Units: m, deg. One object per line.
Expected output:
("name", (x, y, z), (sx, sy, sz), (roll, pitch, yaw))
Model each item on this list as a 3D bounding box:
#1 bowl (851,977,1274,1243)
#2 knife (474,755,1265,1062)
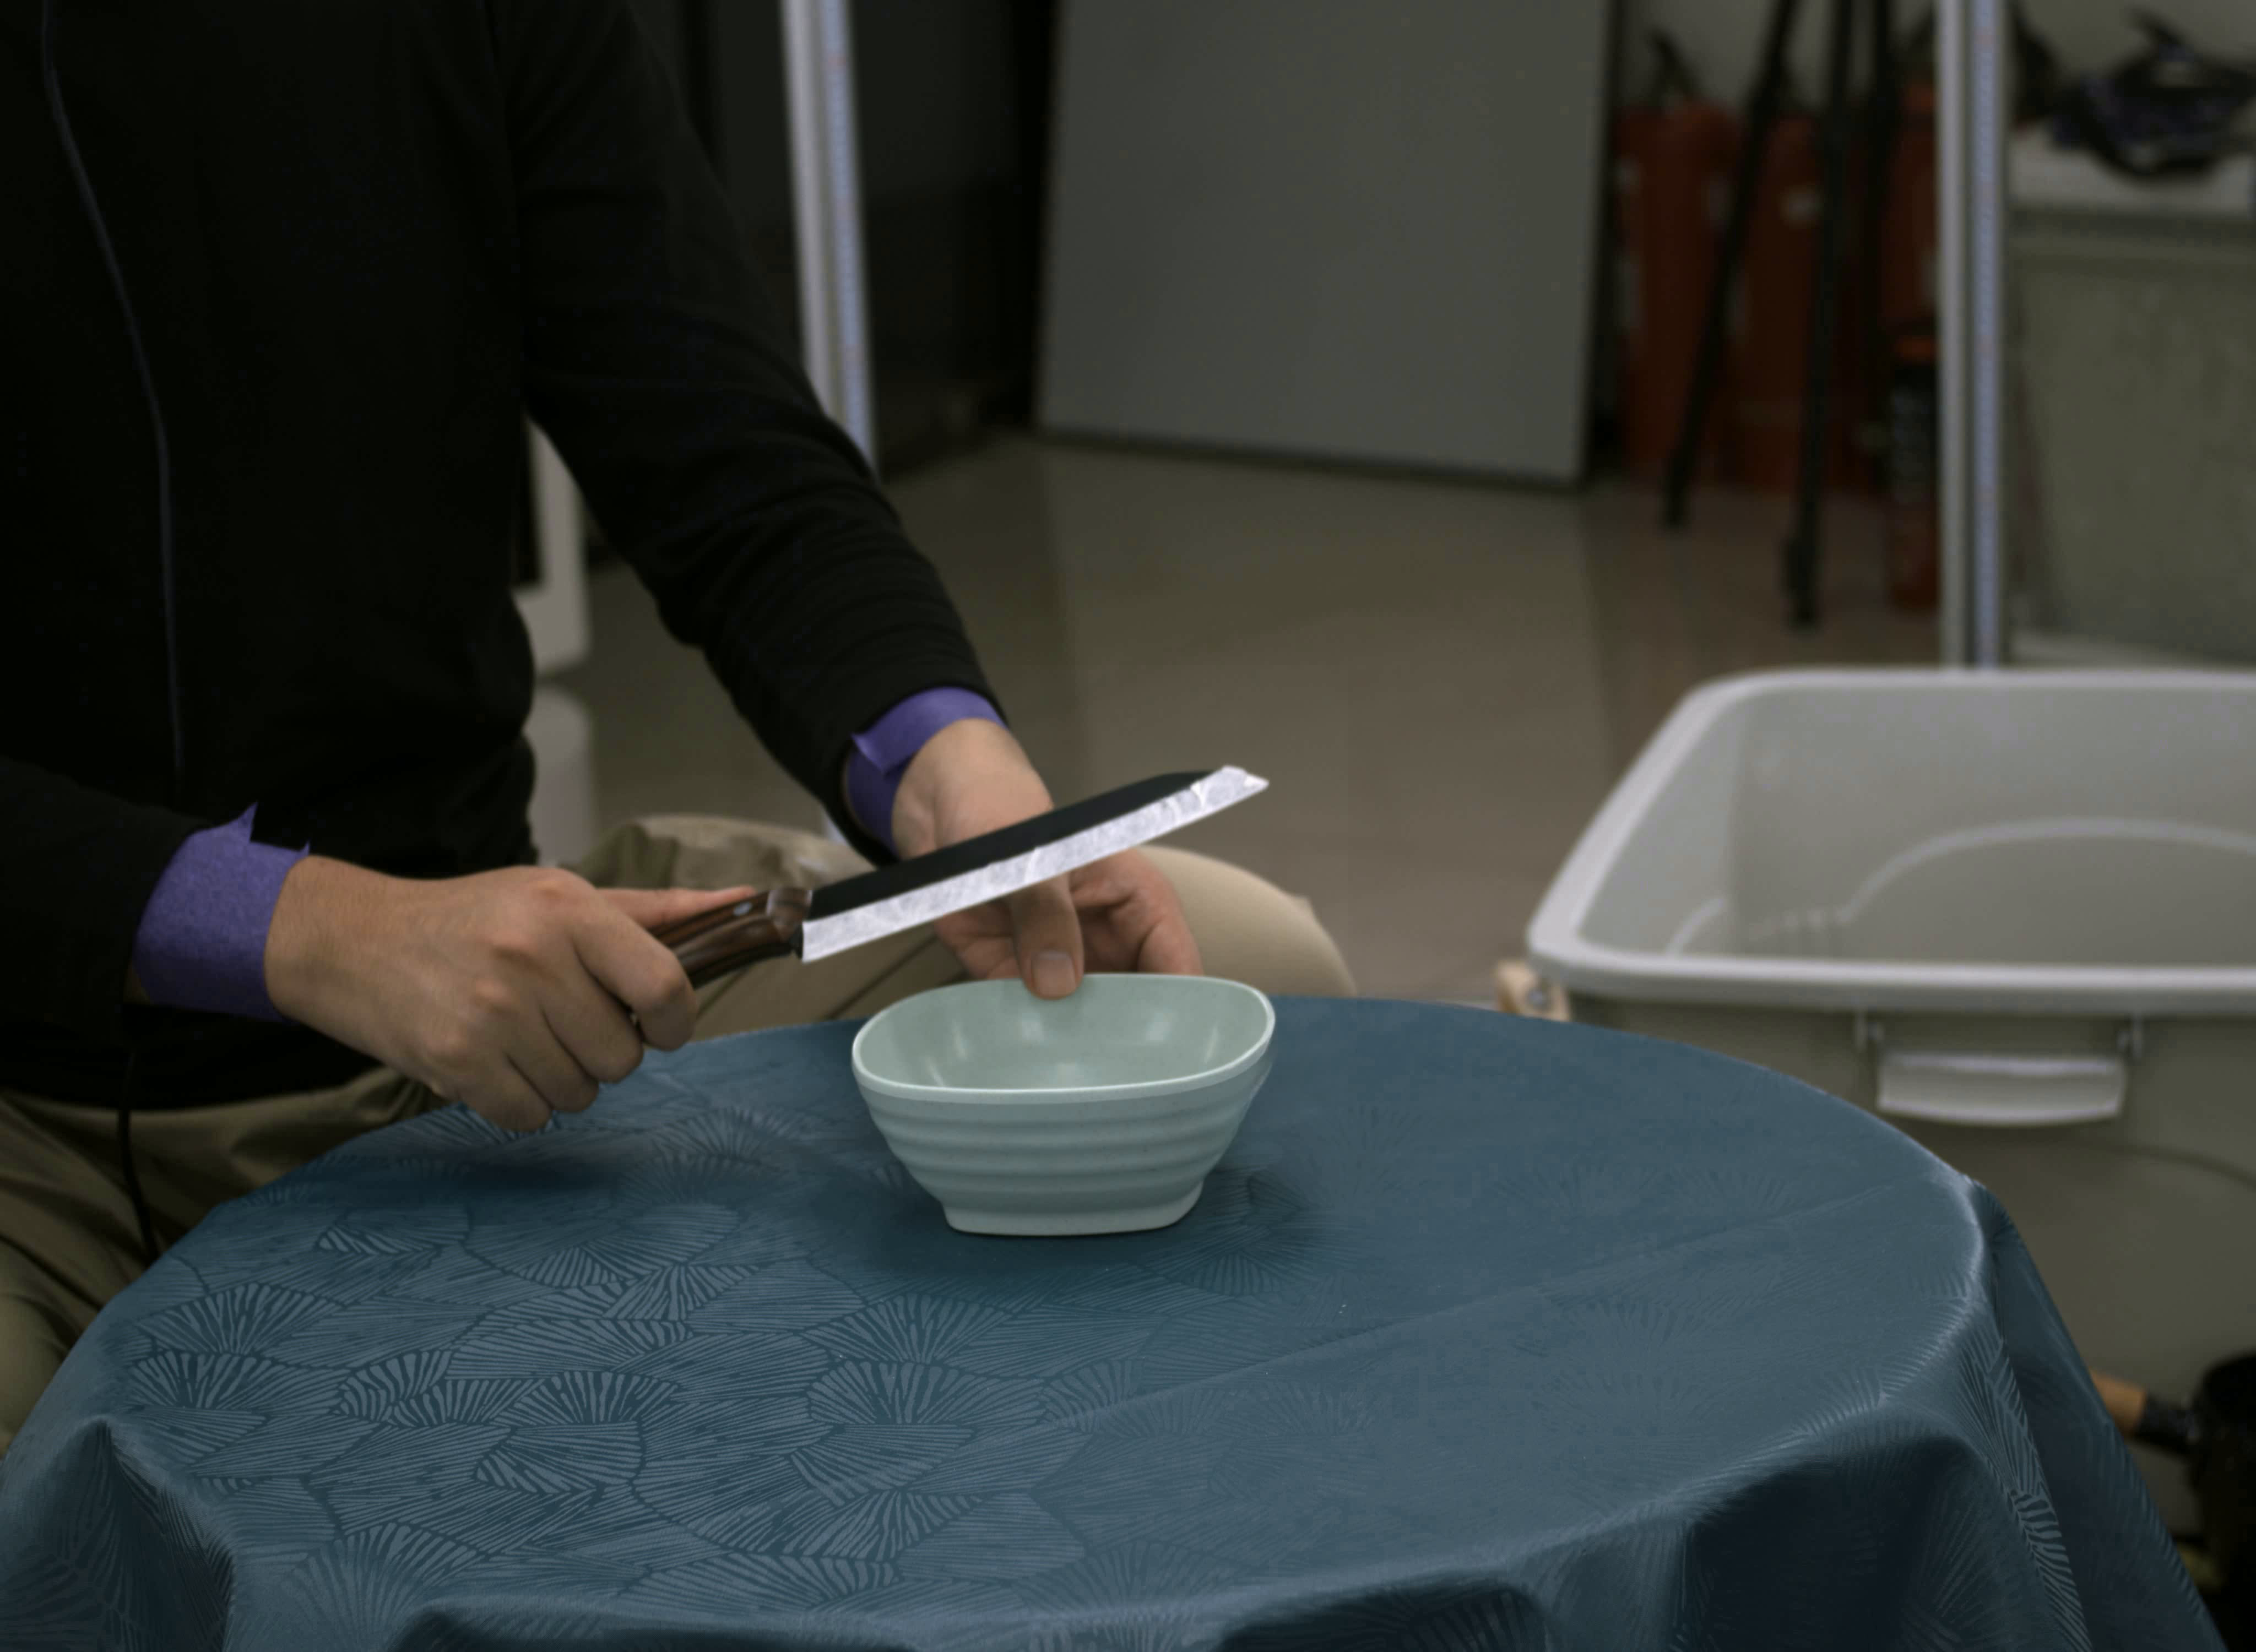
("bowl", (-0.020, 0.096, 1.766), (0.149, 0.059, 0.152), (-3, 14, 0))
("knife", (-0.088, 0.025, 1.814), (0.288, 0.020, 0.050), (-19, 30, 11))
